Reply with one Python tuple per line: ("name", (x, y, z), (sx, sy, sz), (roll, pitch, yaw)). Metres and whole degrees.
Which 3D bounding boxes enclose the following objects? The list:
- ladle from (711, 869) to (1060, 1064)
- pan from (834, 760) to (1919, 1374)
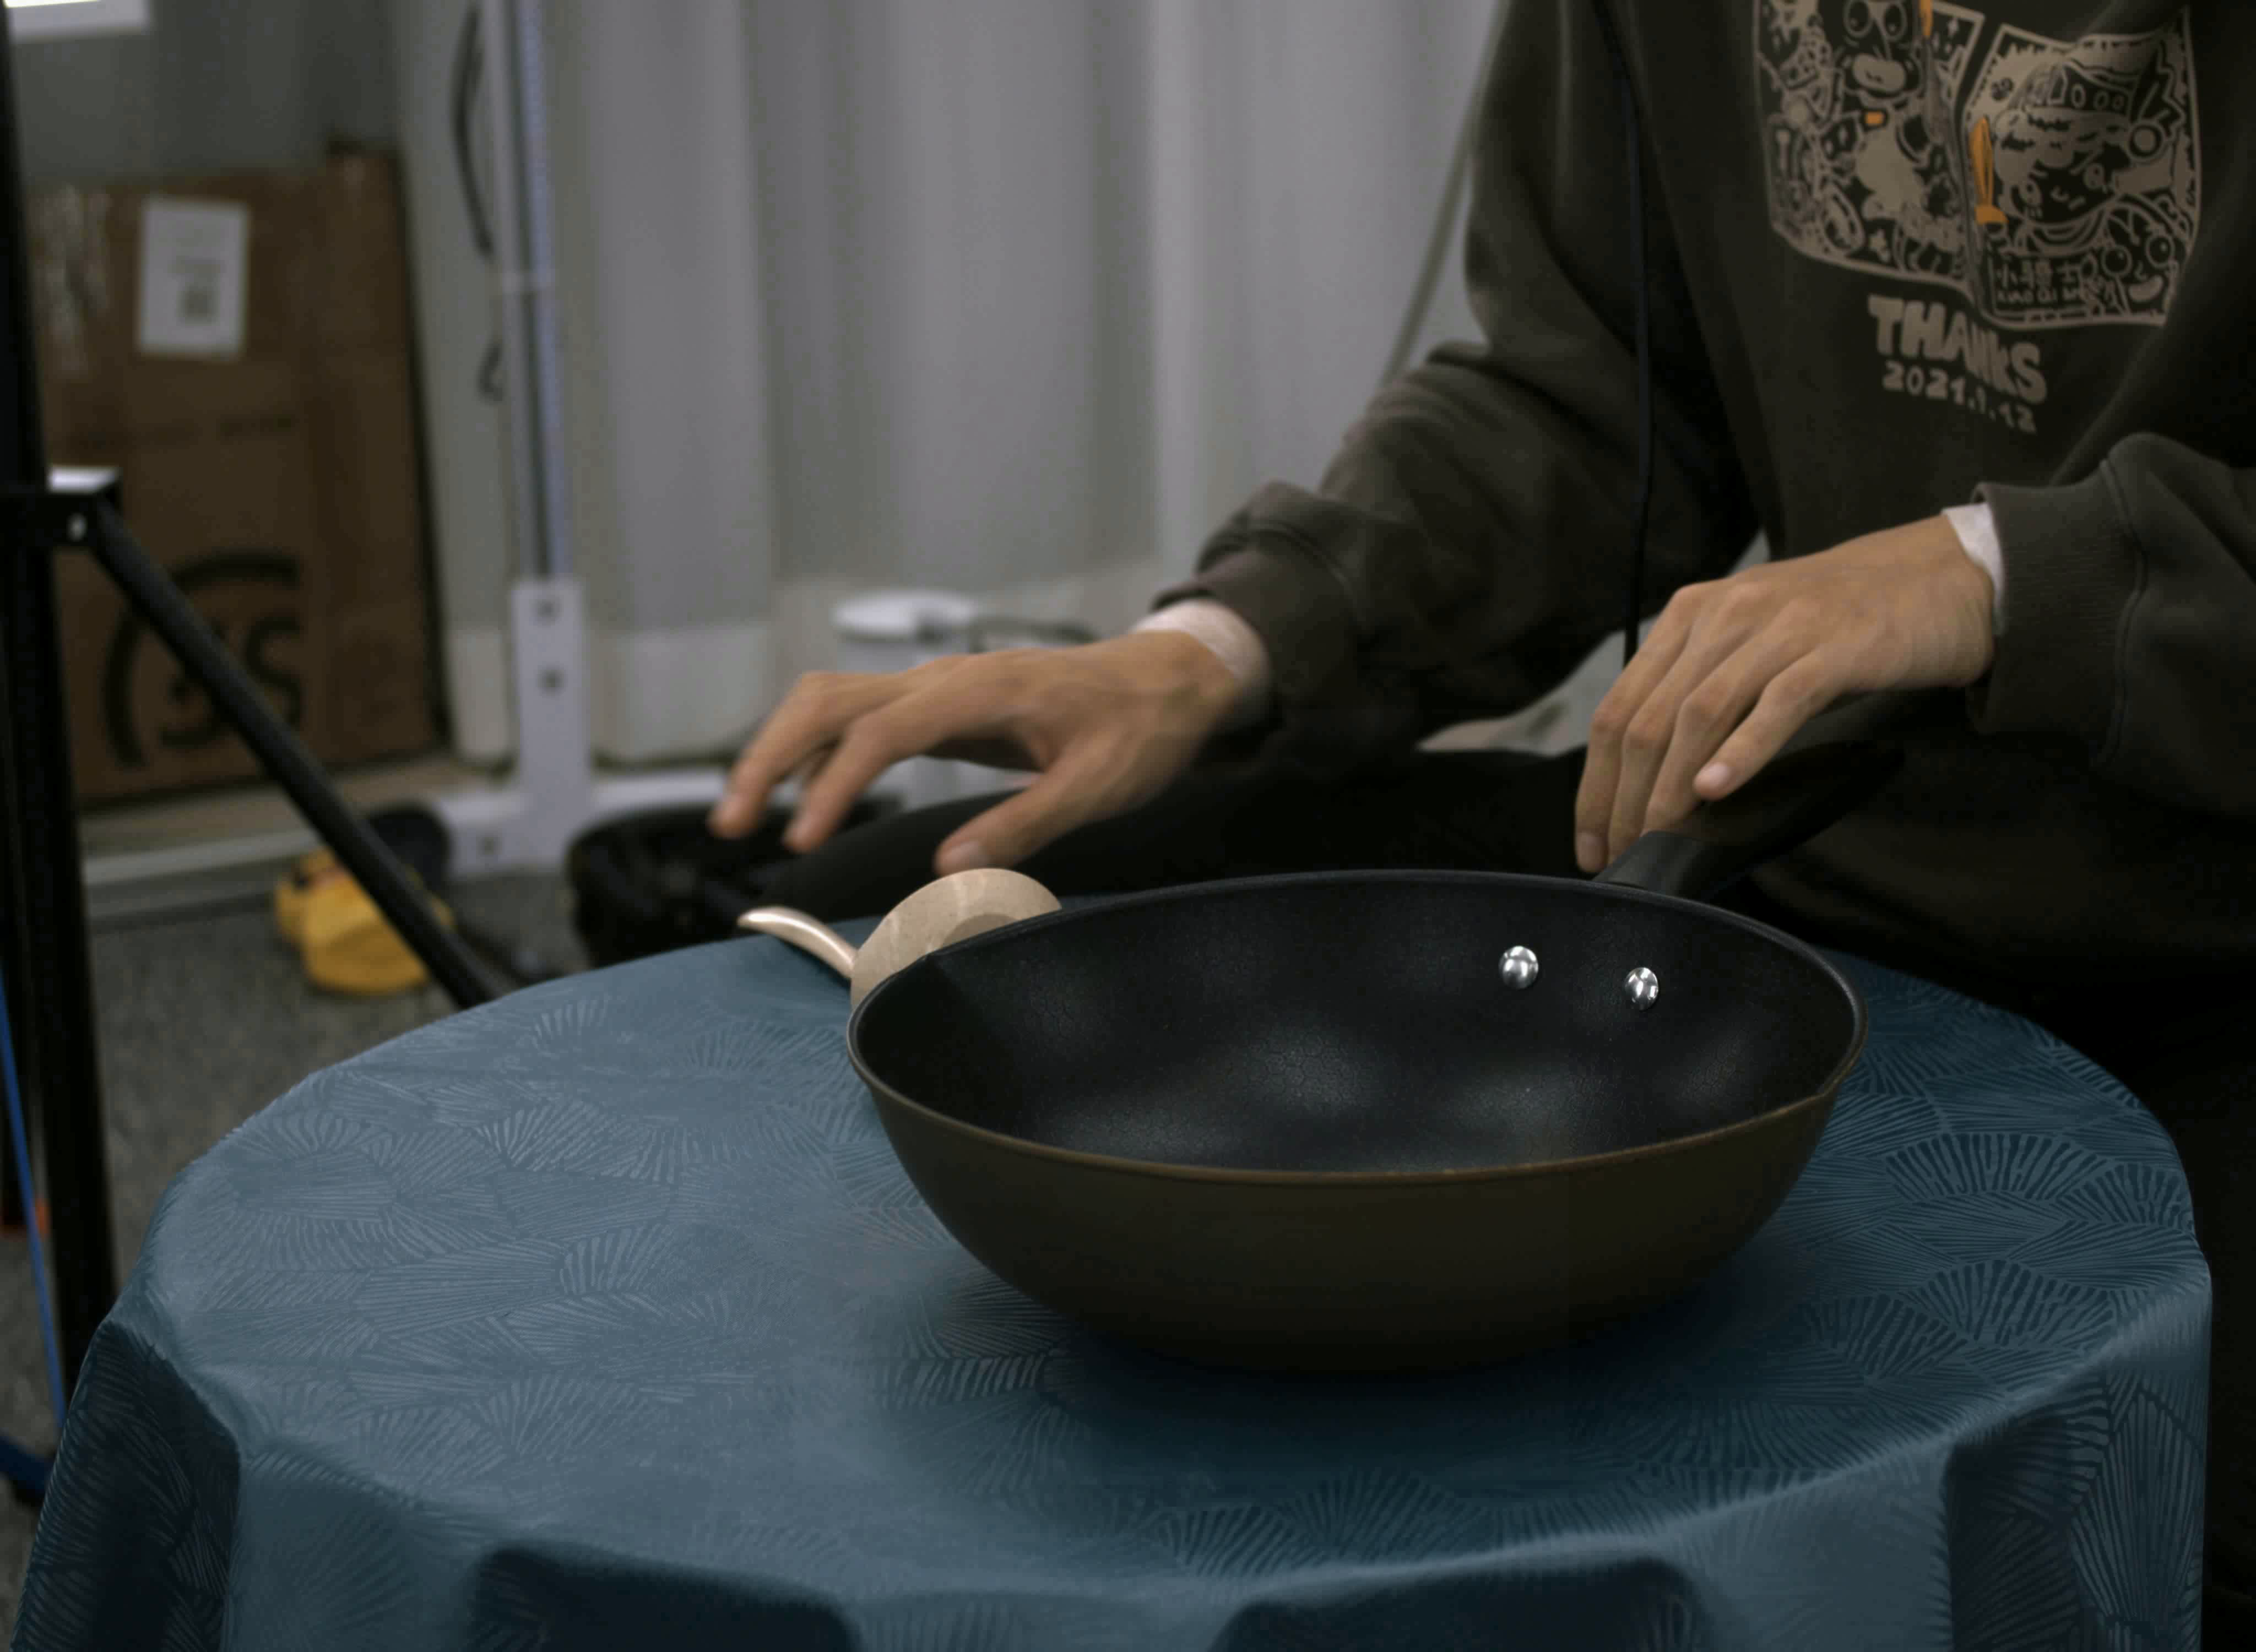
("ladle", (-0.093, 0.025, 1.752), (0.071, 0.073, 0.259), (-12, 17, -21))
("pan", (0.111, 0.066, 1.540), (0.294, 0.087, 0.454), (8, 18, 34))
